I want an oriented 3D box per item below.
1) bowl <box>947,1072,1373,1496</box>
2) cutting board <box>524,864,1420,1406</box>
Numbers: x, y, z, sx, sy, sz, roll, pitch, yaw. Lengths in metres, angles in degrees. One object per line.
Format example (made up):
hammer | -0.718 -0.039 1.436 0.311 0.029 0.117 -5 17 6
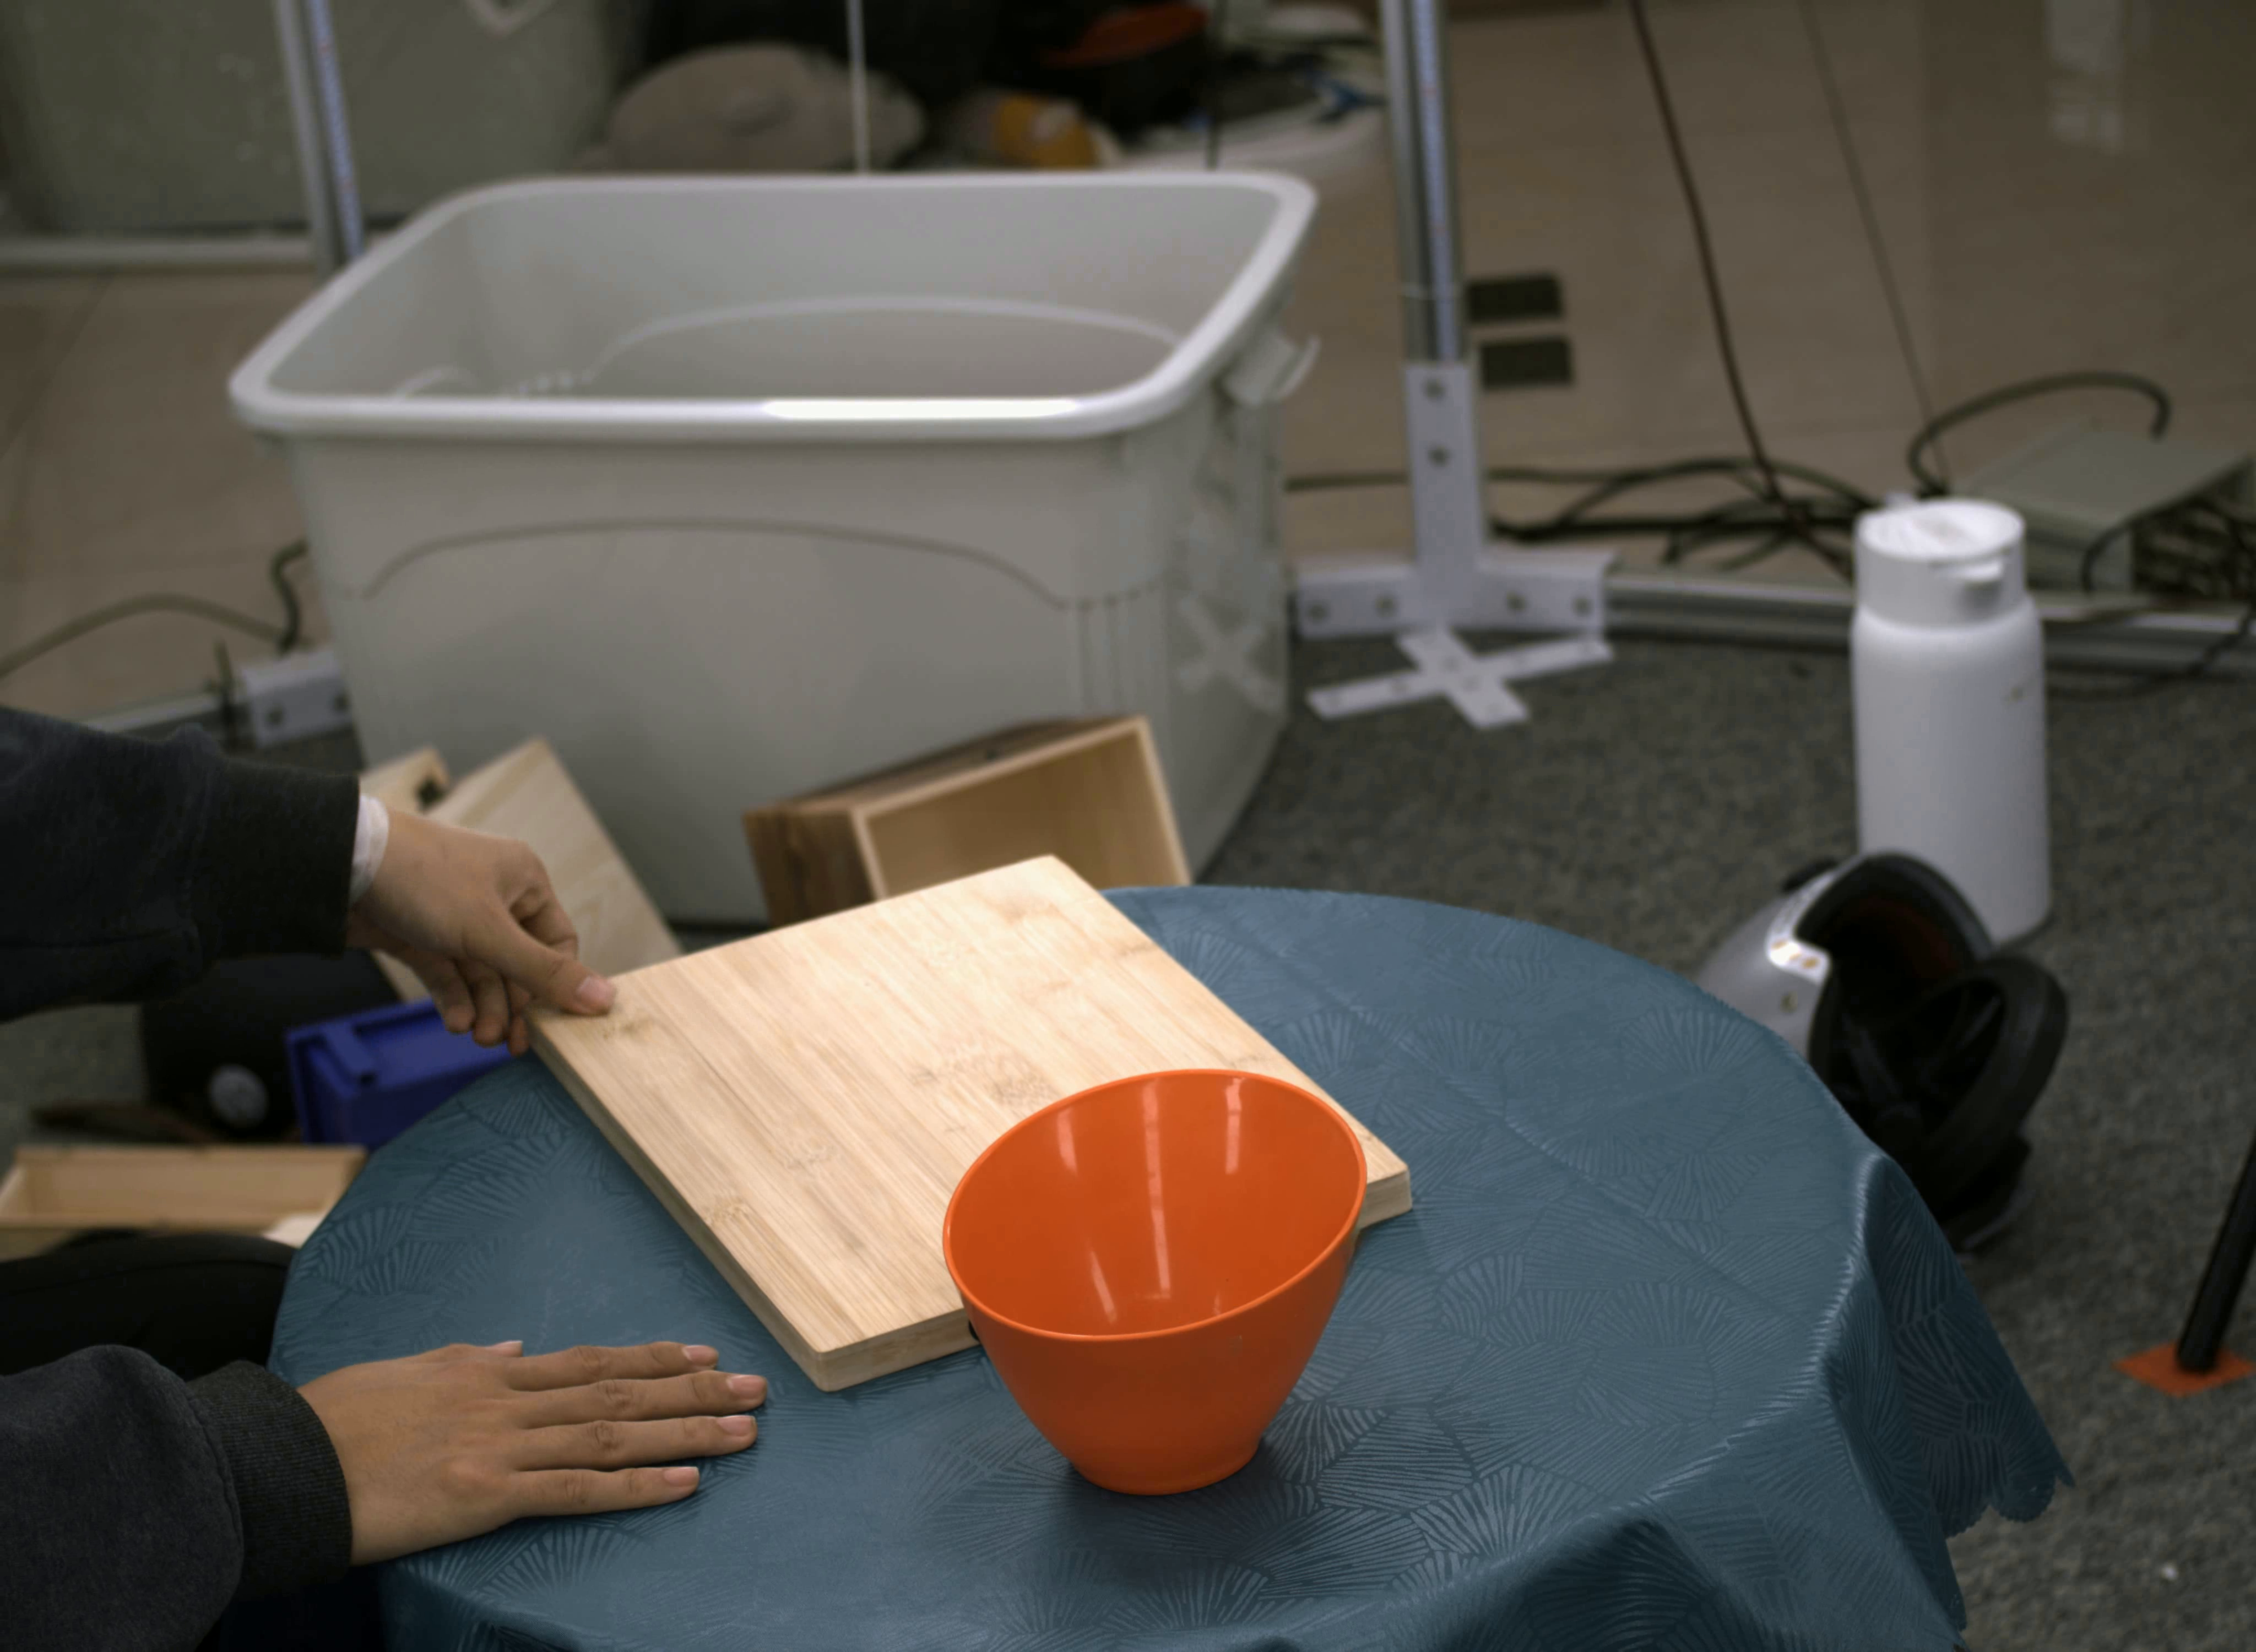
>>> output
bowl | 0.014 0.165 1.964 0.148 0.106 0.146 -4 26 2
cutting board | -0.068 0.111 2.205 0.249 0.024 0.344 -17 26 -20
